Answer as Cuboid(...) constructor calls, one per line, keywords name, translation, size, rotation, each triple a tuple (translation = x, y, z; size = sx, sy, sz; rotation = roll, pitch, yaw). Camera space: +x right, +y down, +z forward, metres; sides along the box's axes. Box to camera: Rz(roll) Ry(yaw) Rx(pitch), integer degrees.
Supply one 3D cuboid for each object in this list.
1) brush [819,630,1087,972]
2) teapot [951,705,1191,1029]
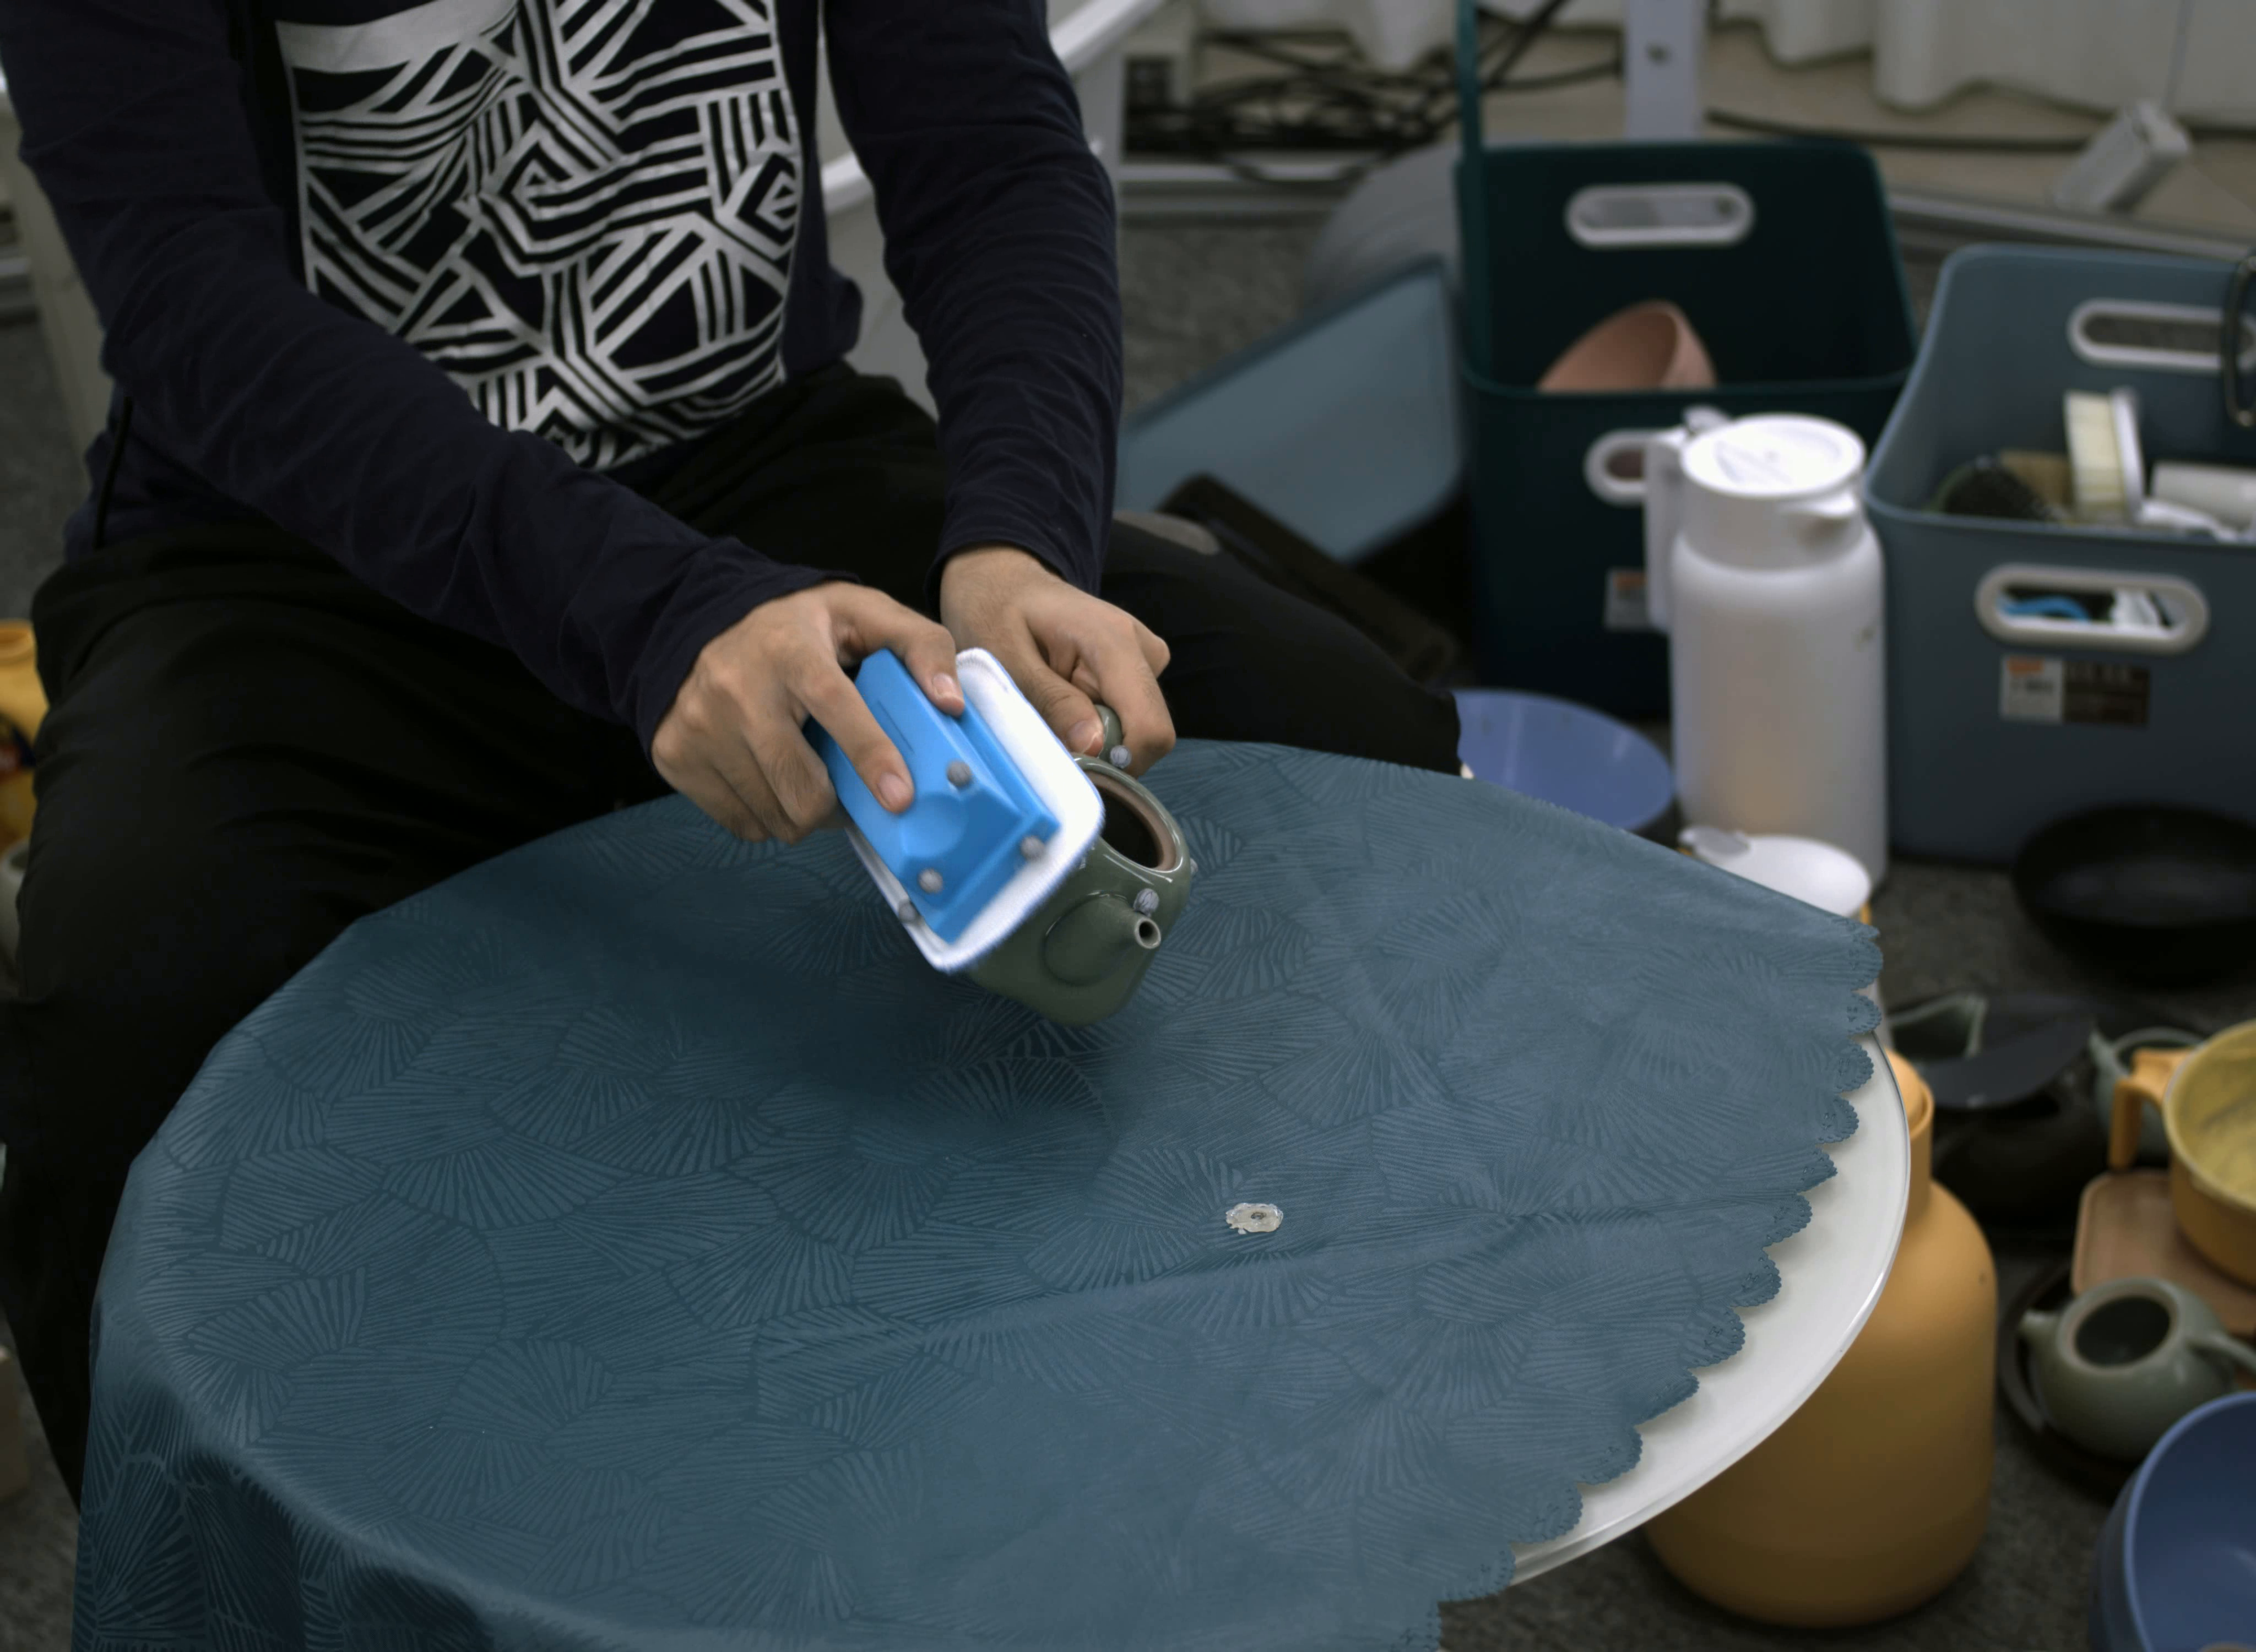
Cuboid(name="brush", translation=(-0.067, -0.015, 1.900), size=(0.083, 0.055, 0.145), rotation=(-44, 34, 9))
Cuboid(name="teapot", translation=(-0.020, 0.019, 1.918), size=(0.079, 0.074, 0.135), rotation=(30, 29, -27))
